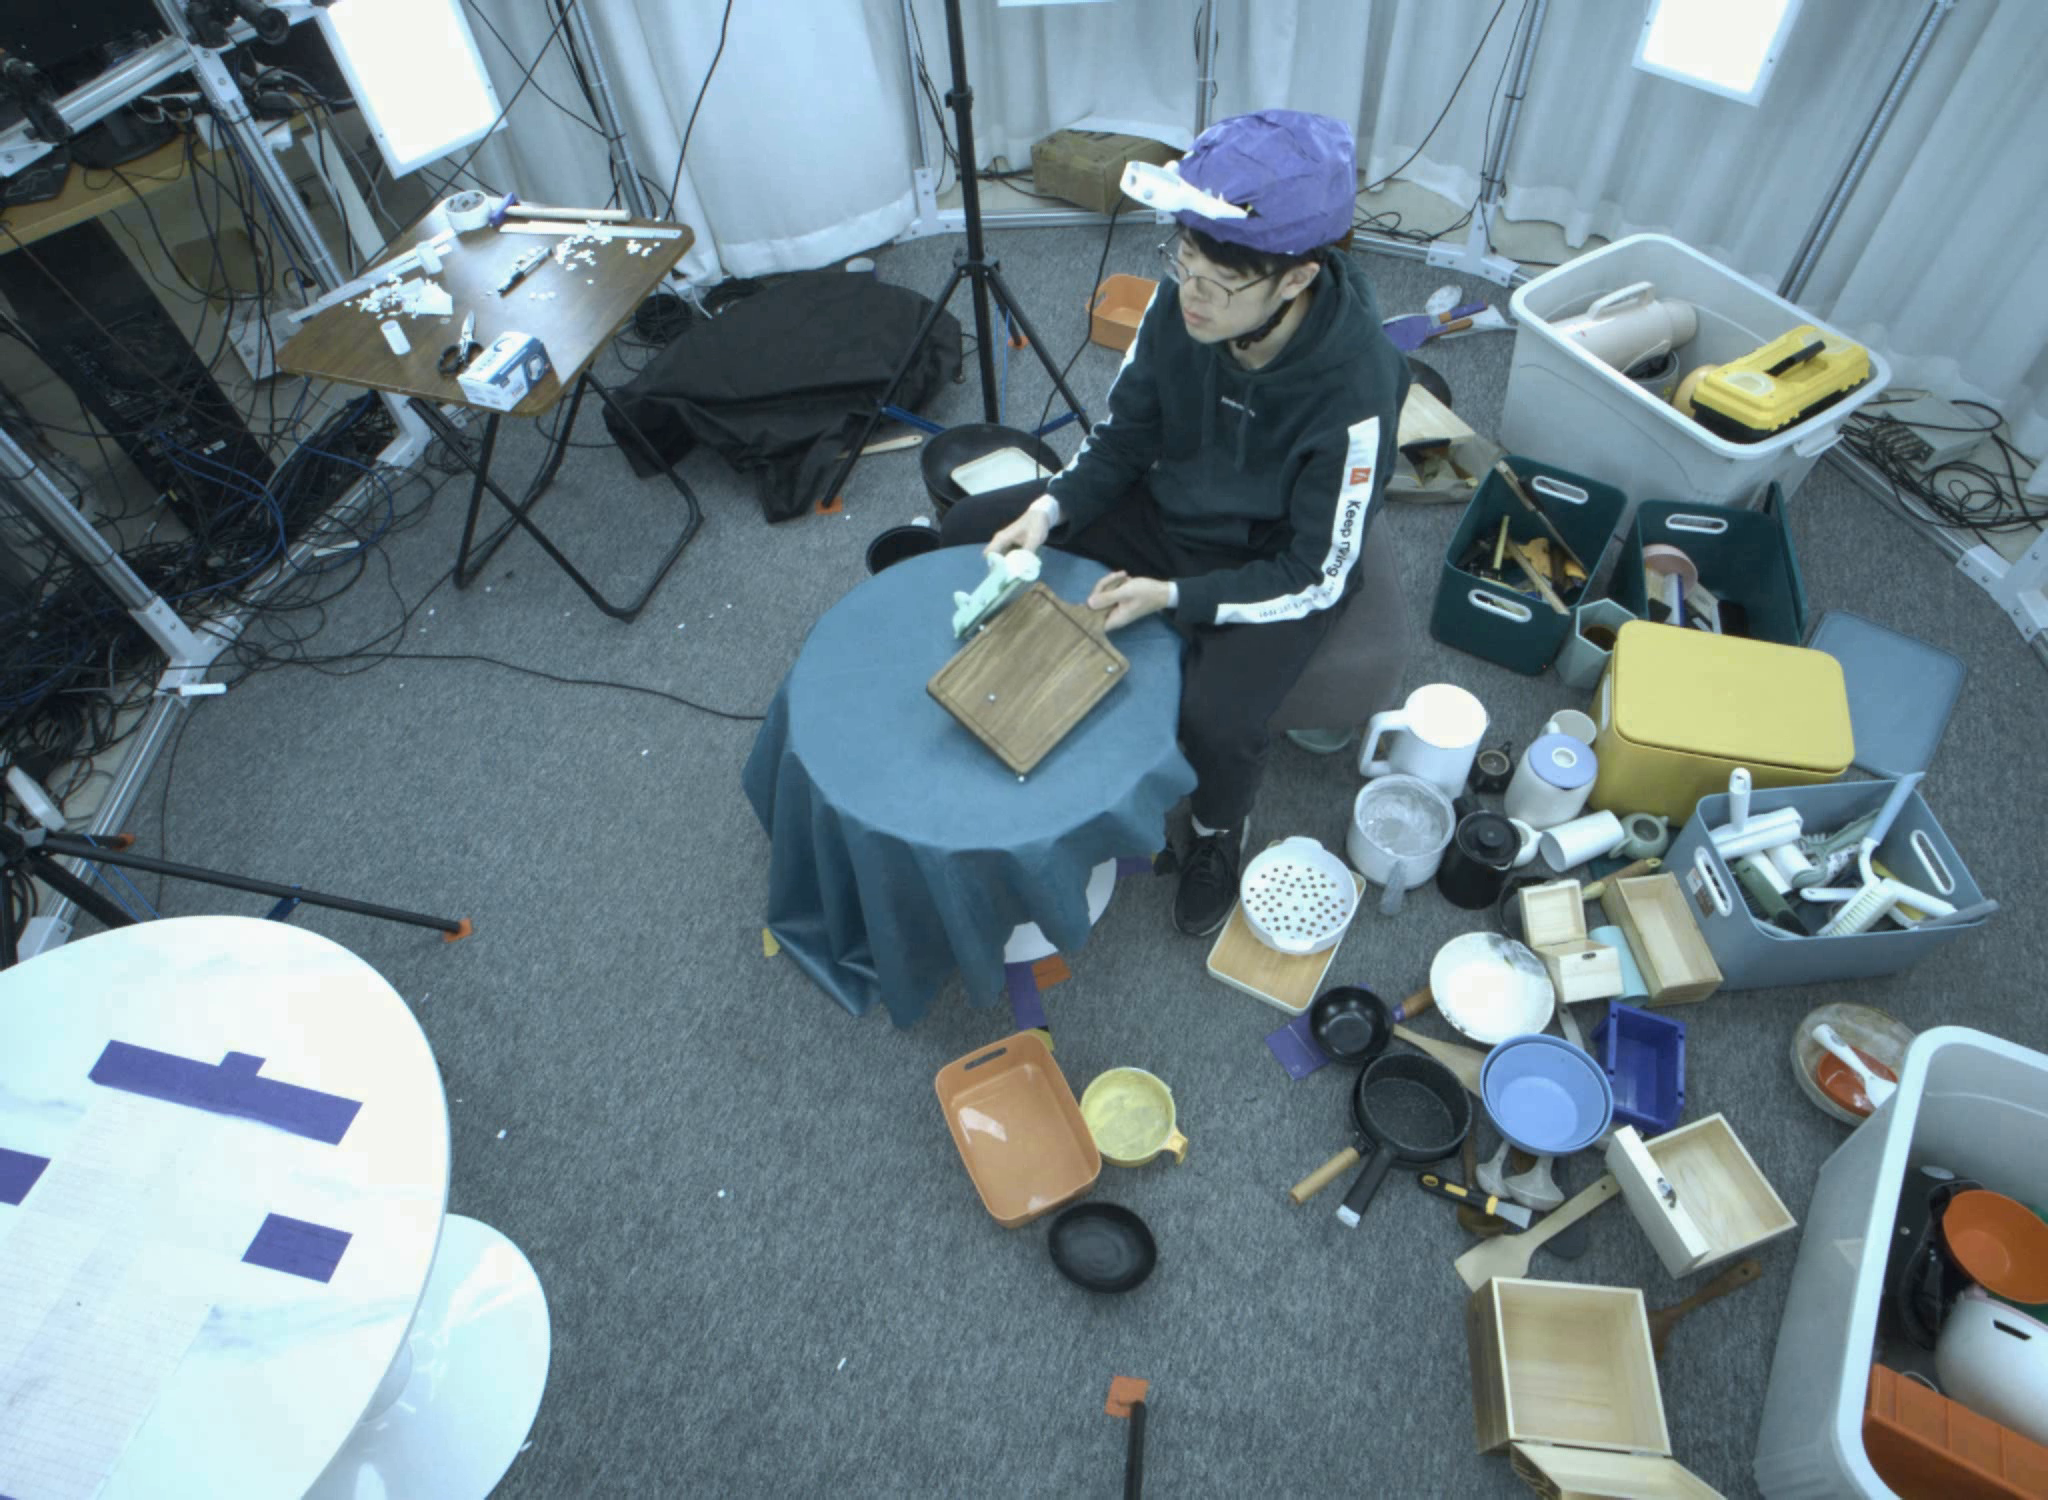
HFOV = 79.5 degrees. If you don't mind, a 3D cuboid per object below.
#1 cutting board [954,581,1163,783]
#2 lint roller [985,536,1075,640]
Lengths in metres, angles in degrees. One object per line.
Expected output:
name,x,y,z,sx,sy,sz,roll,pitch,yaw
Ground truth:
cutting board,0.085,-0.132,1.807,0.200,0.023,0.354,44,69,4
lint roller,0.016,-0.274,1.855,0.083,0.196,0.183,31,56,-14
